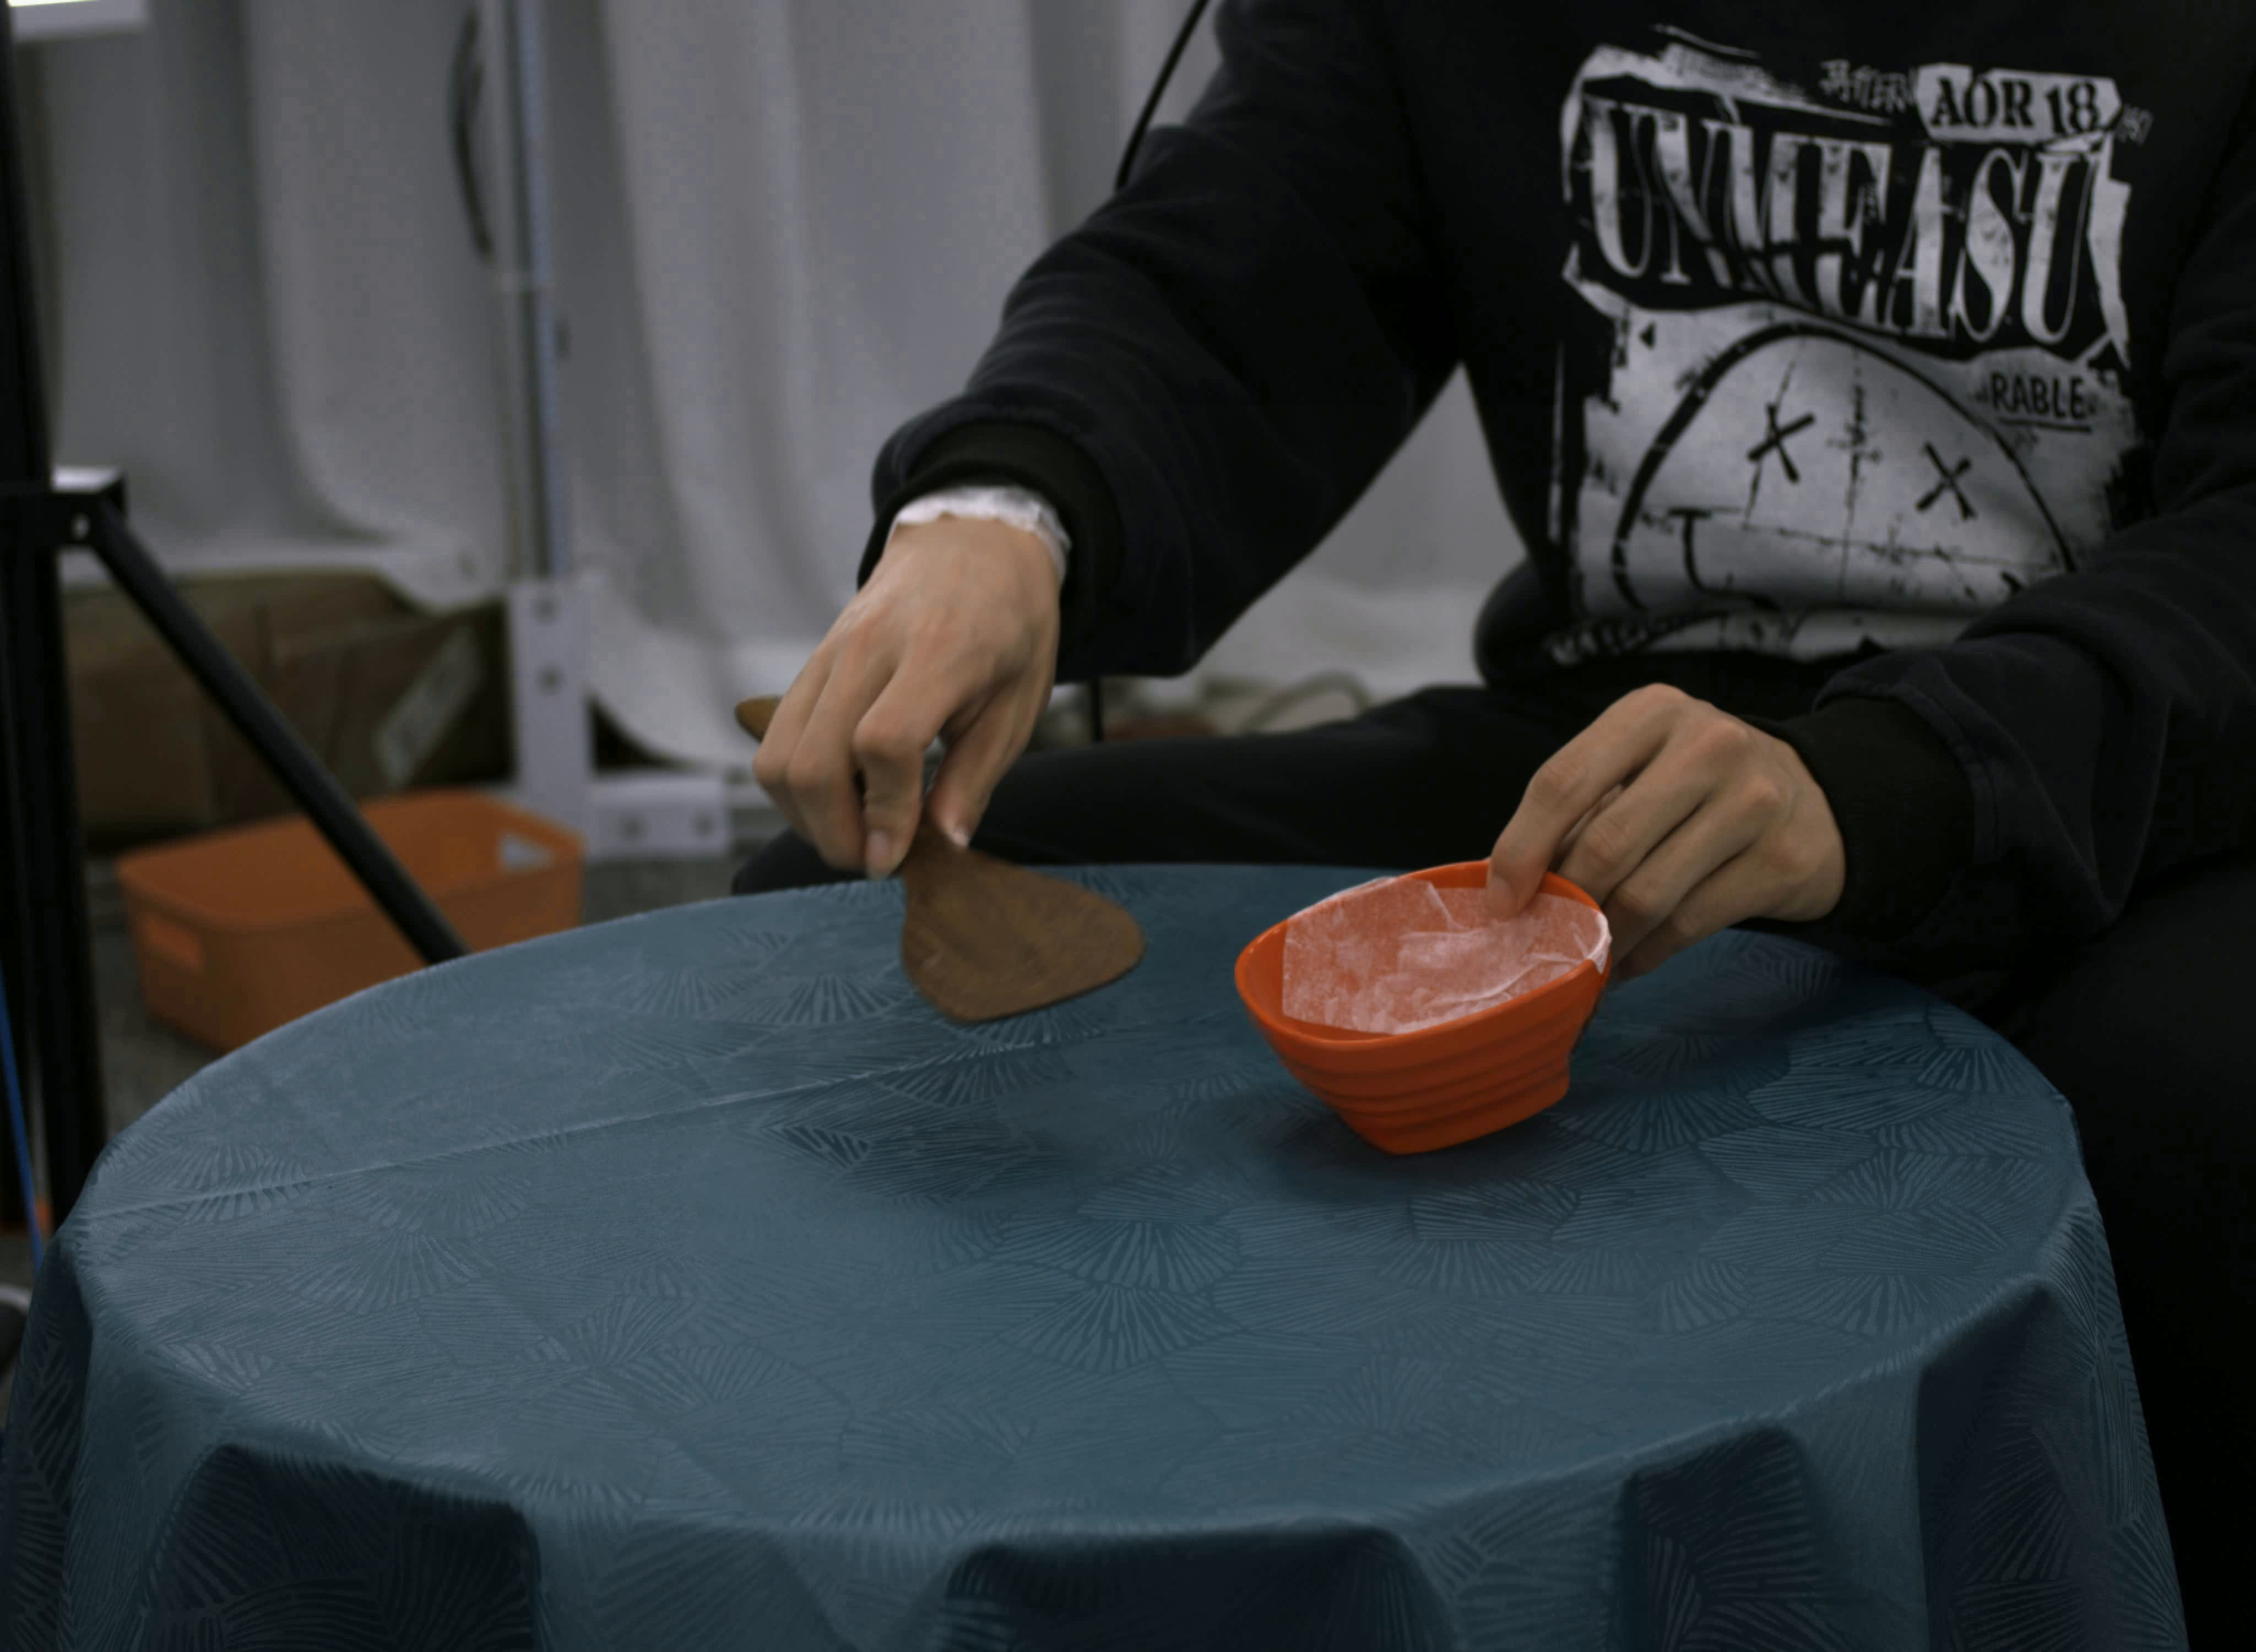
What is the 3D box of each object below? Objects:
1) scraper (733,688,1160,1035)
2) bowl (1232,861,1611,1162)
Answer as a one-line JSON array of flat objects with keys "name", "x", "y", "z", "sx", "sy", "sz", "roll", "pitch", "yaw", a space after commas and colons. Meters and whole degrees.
[{"name": "scraper", "x": -0.068, "y": 0.008, "z": 1.645, "sx": 0.074, "sy": 0.011, "sz": 0.216, "roll": -17, "pitch": 35, "yaw": -22}, {"name": "bowl", "x": 0.093, "y": 0.060, "z": 1.598, "sx": 0.119, "sy": 0.051, "sz": 0.120, "roll": -14, "pitch": 23, "yaw": 5}]
